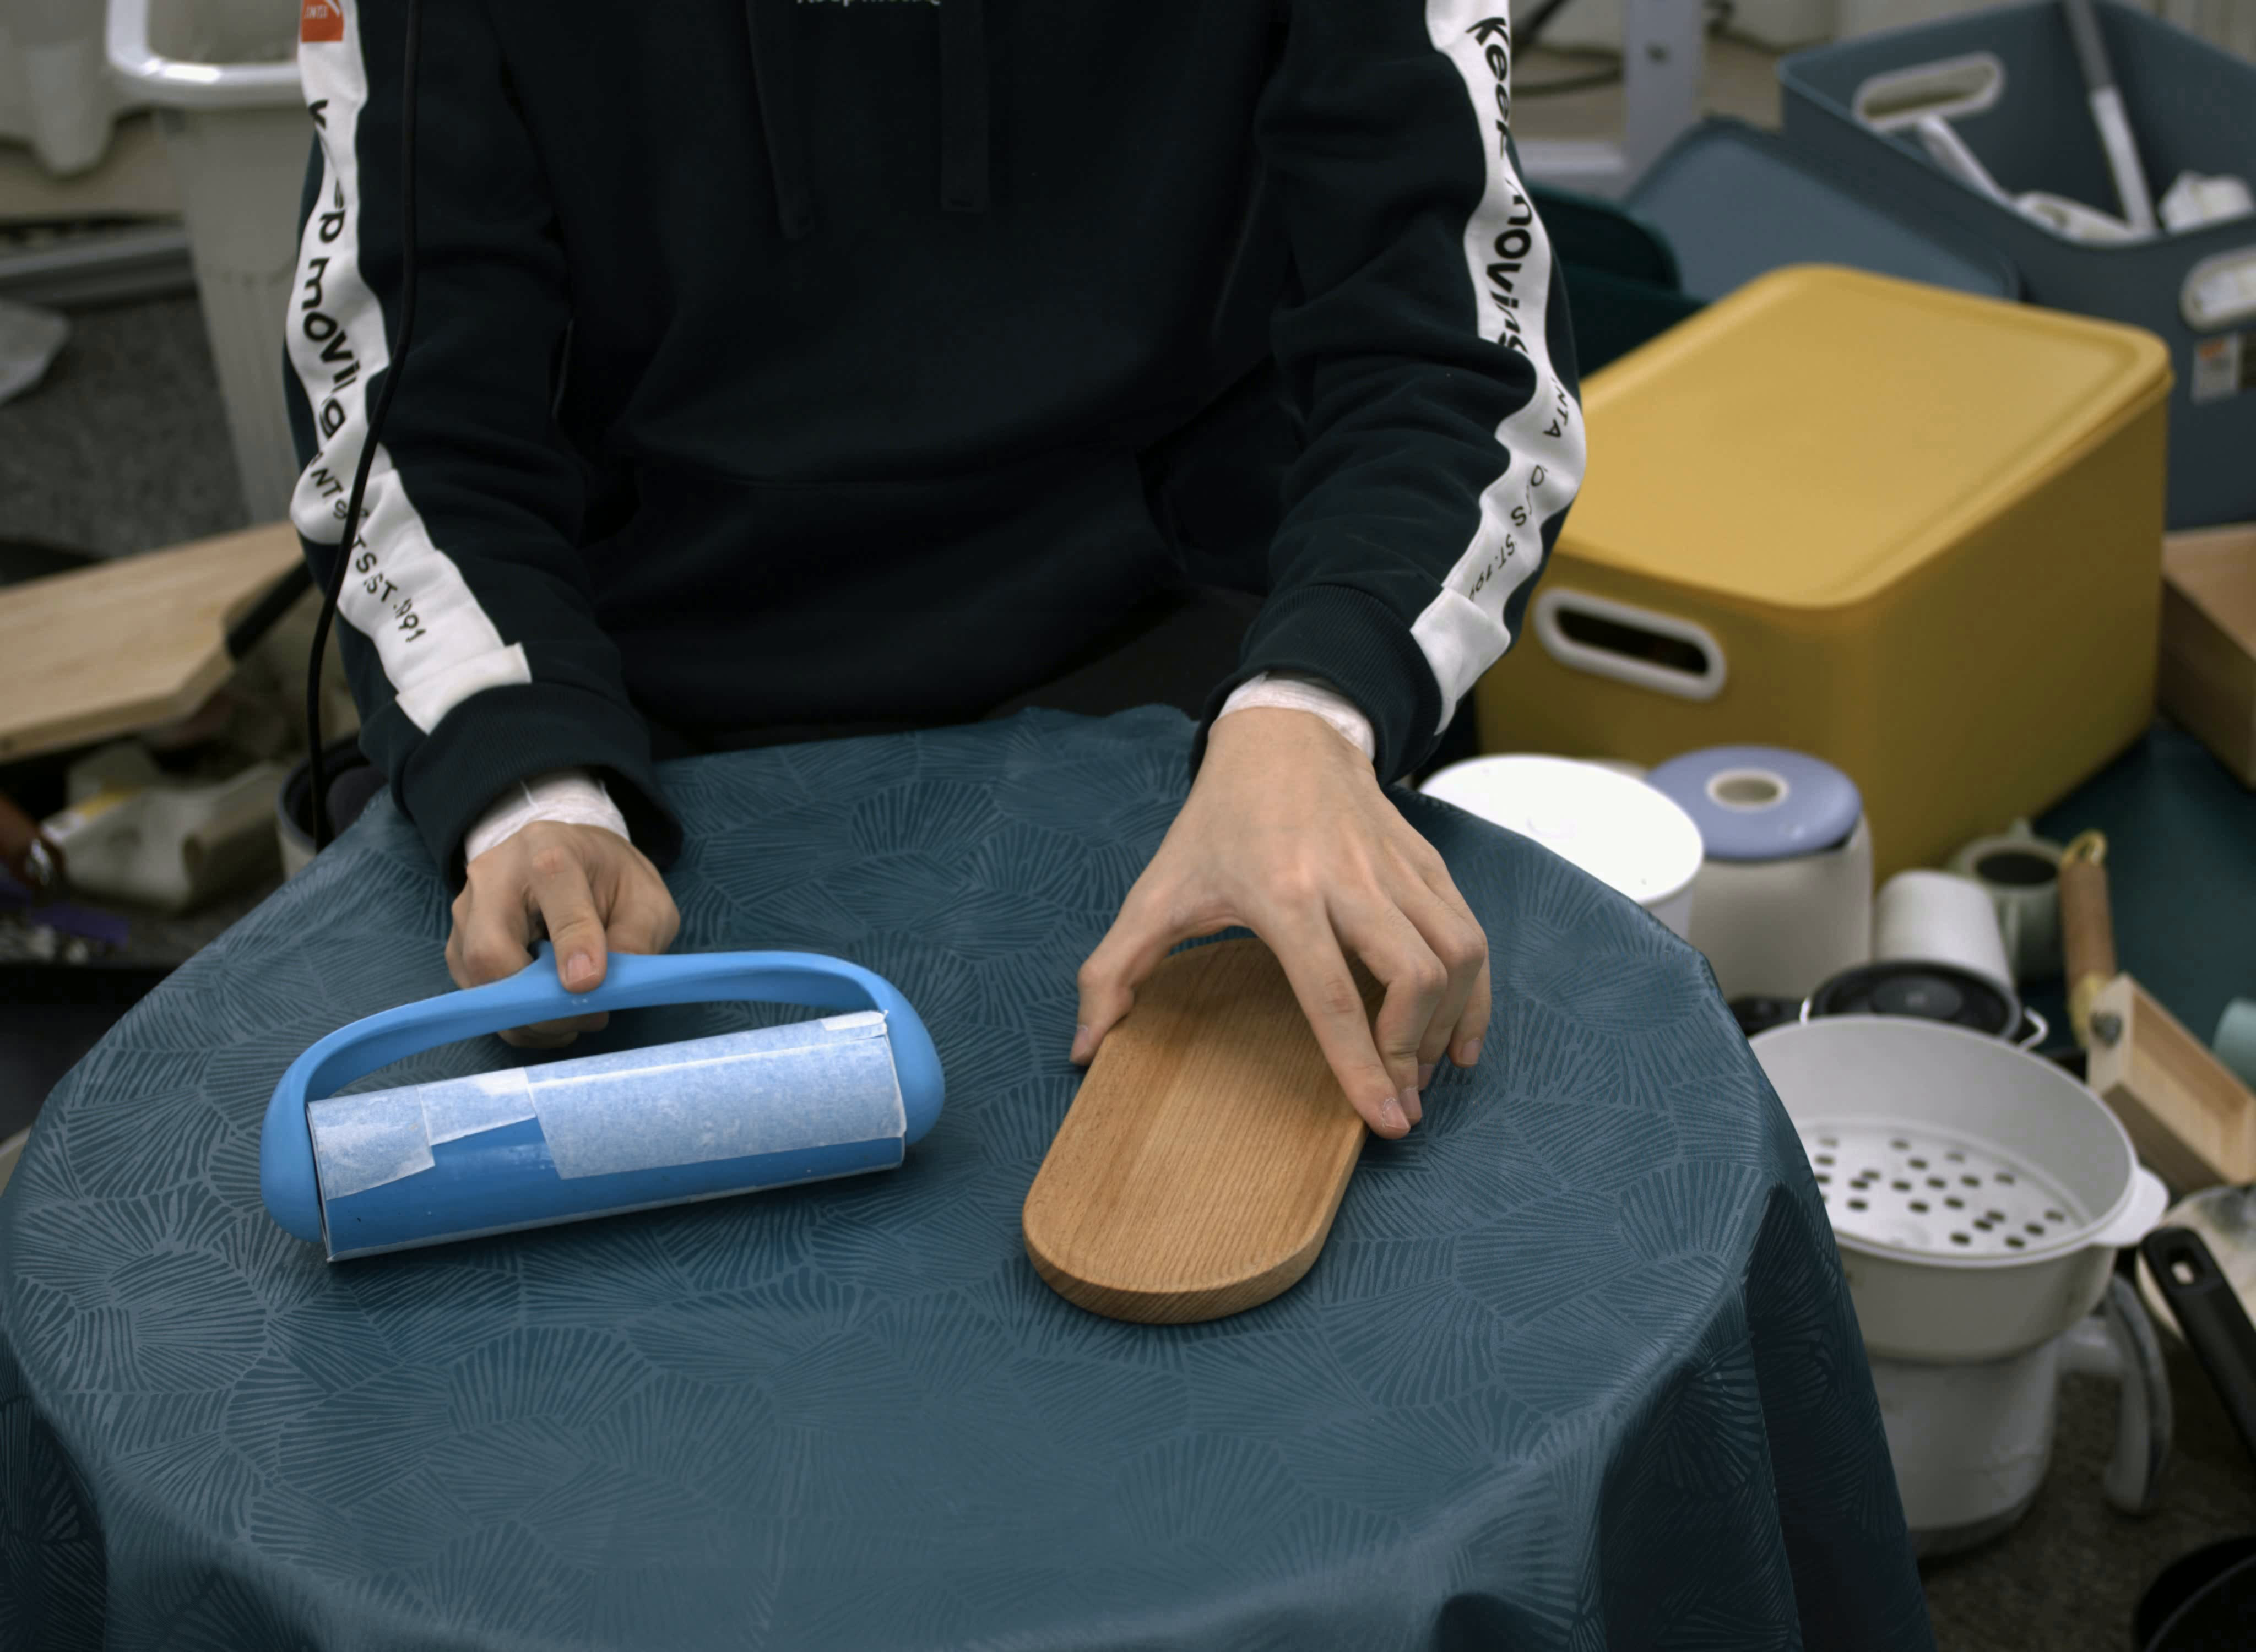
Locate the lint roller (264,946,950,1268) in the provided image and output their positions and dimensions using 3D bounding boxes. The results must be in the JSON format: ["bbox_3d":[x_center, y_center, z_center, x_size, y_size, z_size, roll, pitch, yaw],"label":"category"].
[{"bbox_3d":[-0.187,0.076,1.905,0.229,0.067,0.182,-11,29,-13],"label":"lint roller"}]

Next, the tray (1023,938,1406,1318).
[{"bbox_3d":[0.031,0.099,1.884,0.101,0.020,0.235,5,27,12],"label":"tray"}]
